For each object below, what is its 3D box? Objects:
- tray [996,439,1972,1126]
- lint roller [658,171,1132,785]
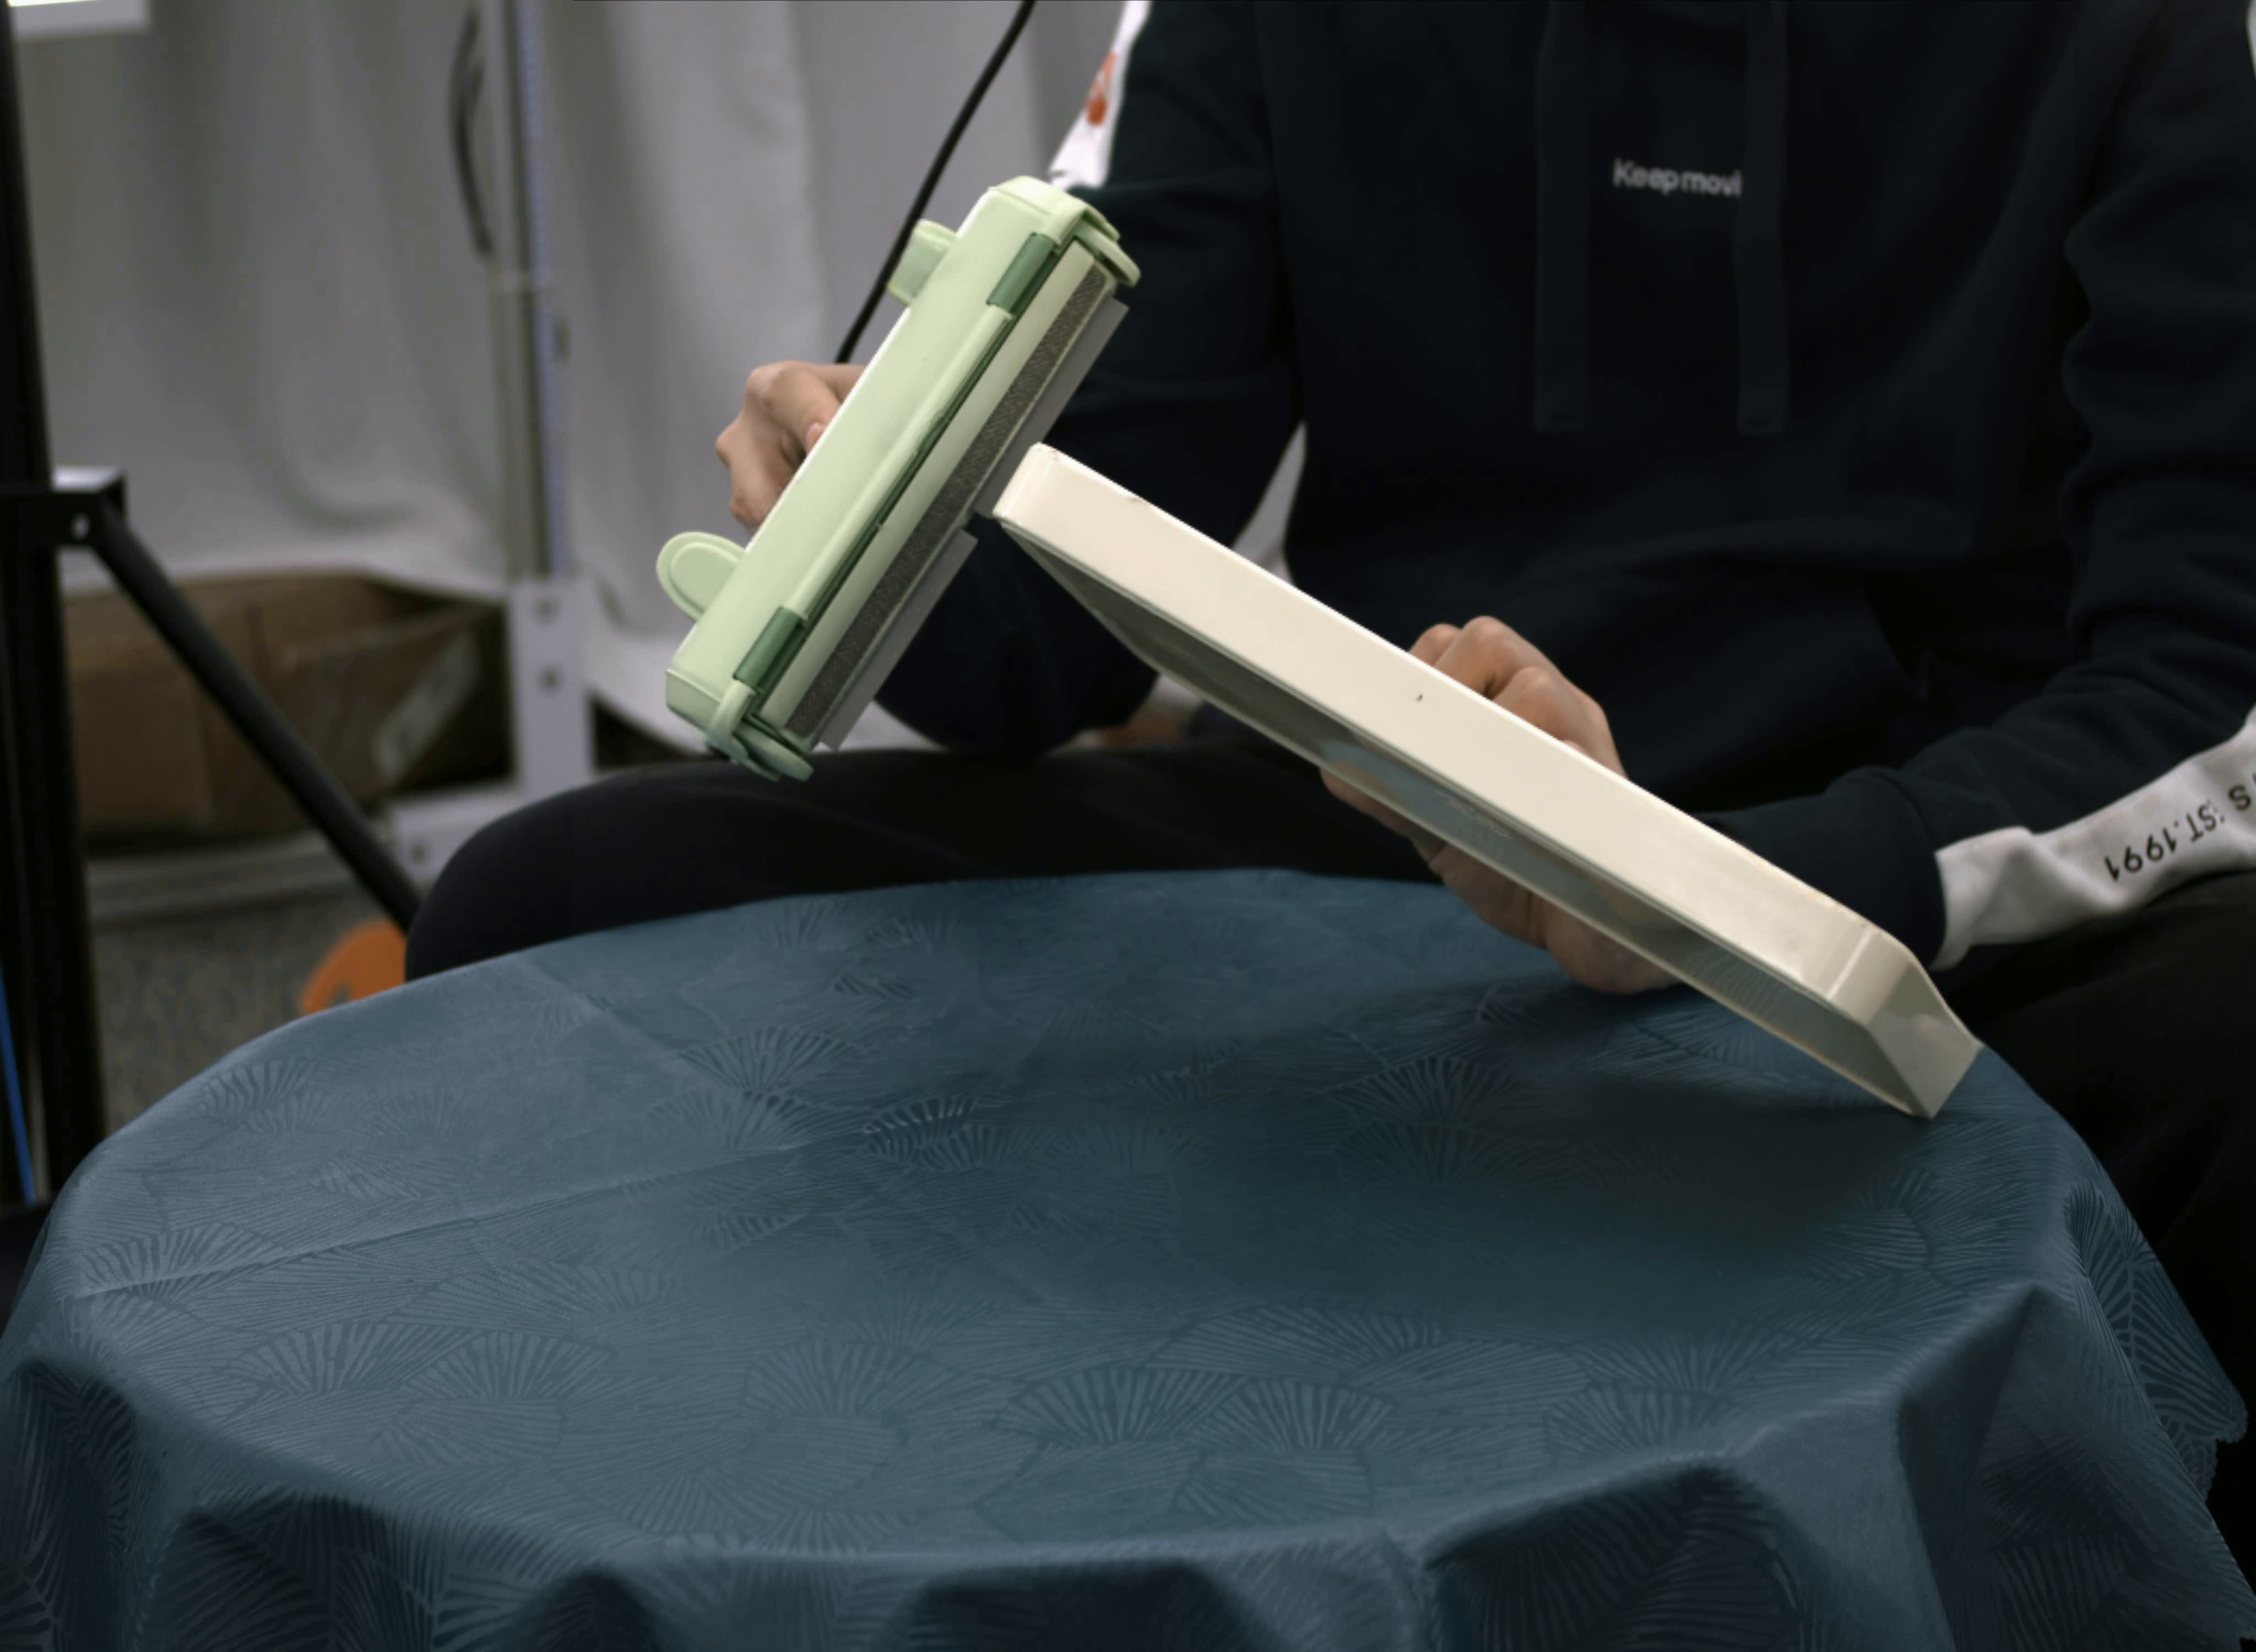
[{"bbox_3d":[0.107,-0.010,1.556,0.305,0.027,0.188,32,-3,21],"label":"tray"},{"bbox_3d":[-0.089,-0.113,1.672,0.081,0.199,0.185,34,-4,-15],"label":"lint roller"}]
